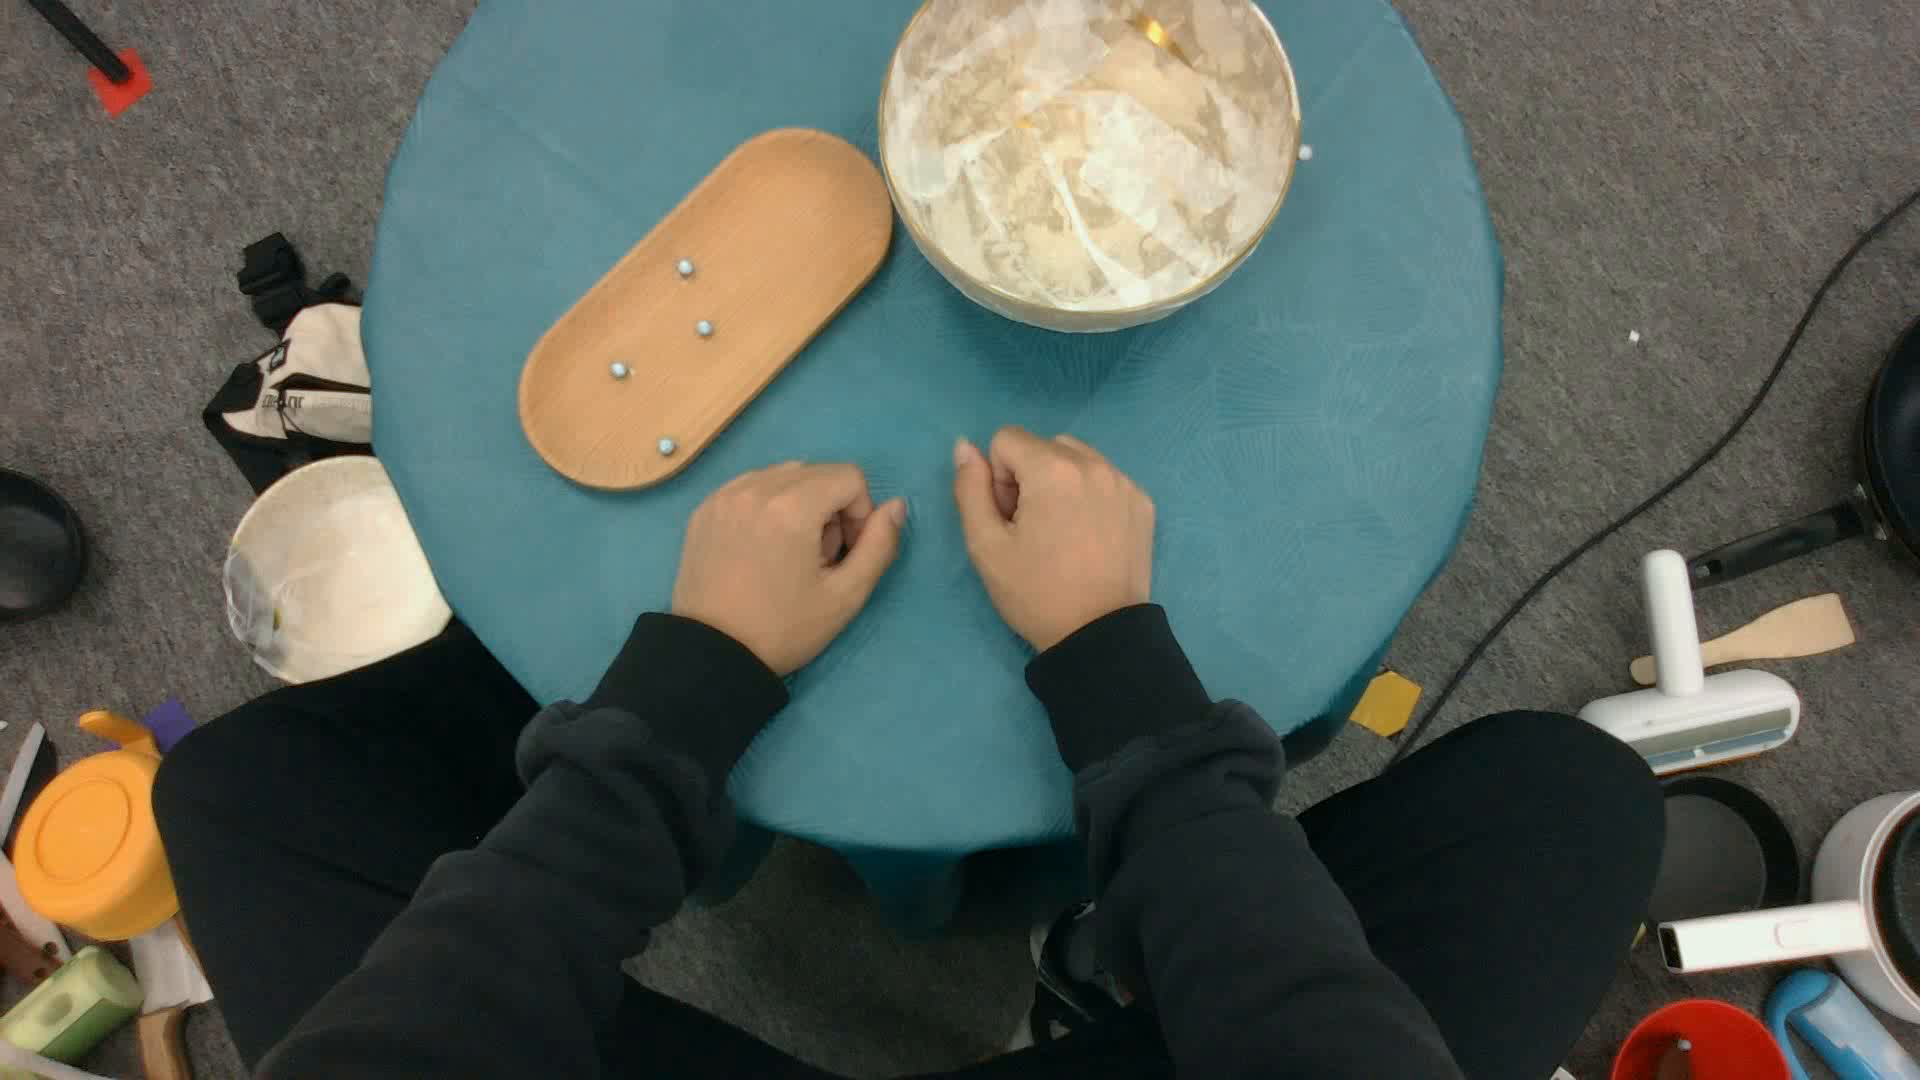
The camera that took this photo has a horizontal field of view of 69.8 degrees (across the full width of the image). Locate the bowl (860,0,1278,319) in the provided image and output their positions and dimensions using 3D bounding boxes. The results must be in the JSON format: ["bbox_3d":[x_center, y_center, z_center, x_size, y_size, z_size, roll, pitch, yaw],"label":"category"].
[{"bbox_3d":[0.048,-0.196,0.699,0.215,0.094,0.215,1,77,-3],"label":"bowl"}]

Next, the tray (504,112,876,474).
[{"bbox_3d":[-0.138,-0.130,0.717,0.101,0.020,0.232,40,77,5],"label":"tray"}]
